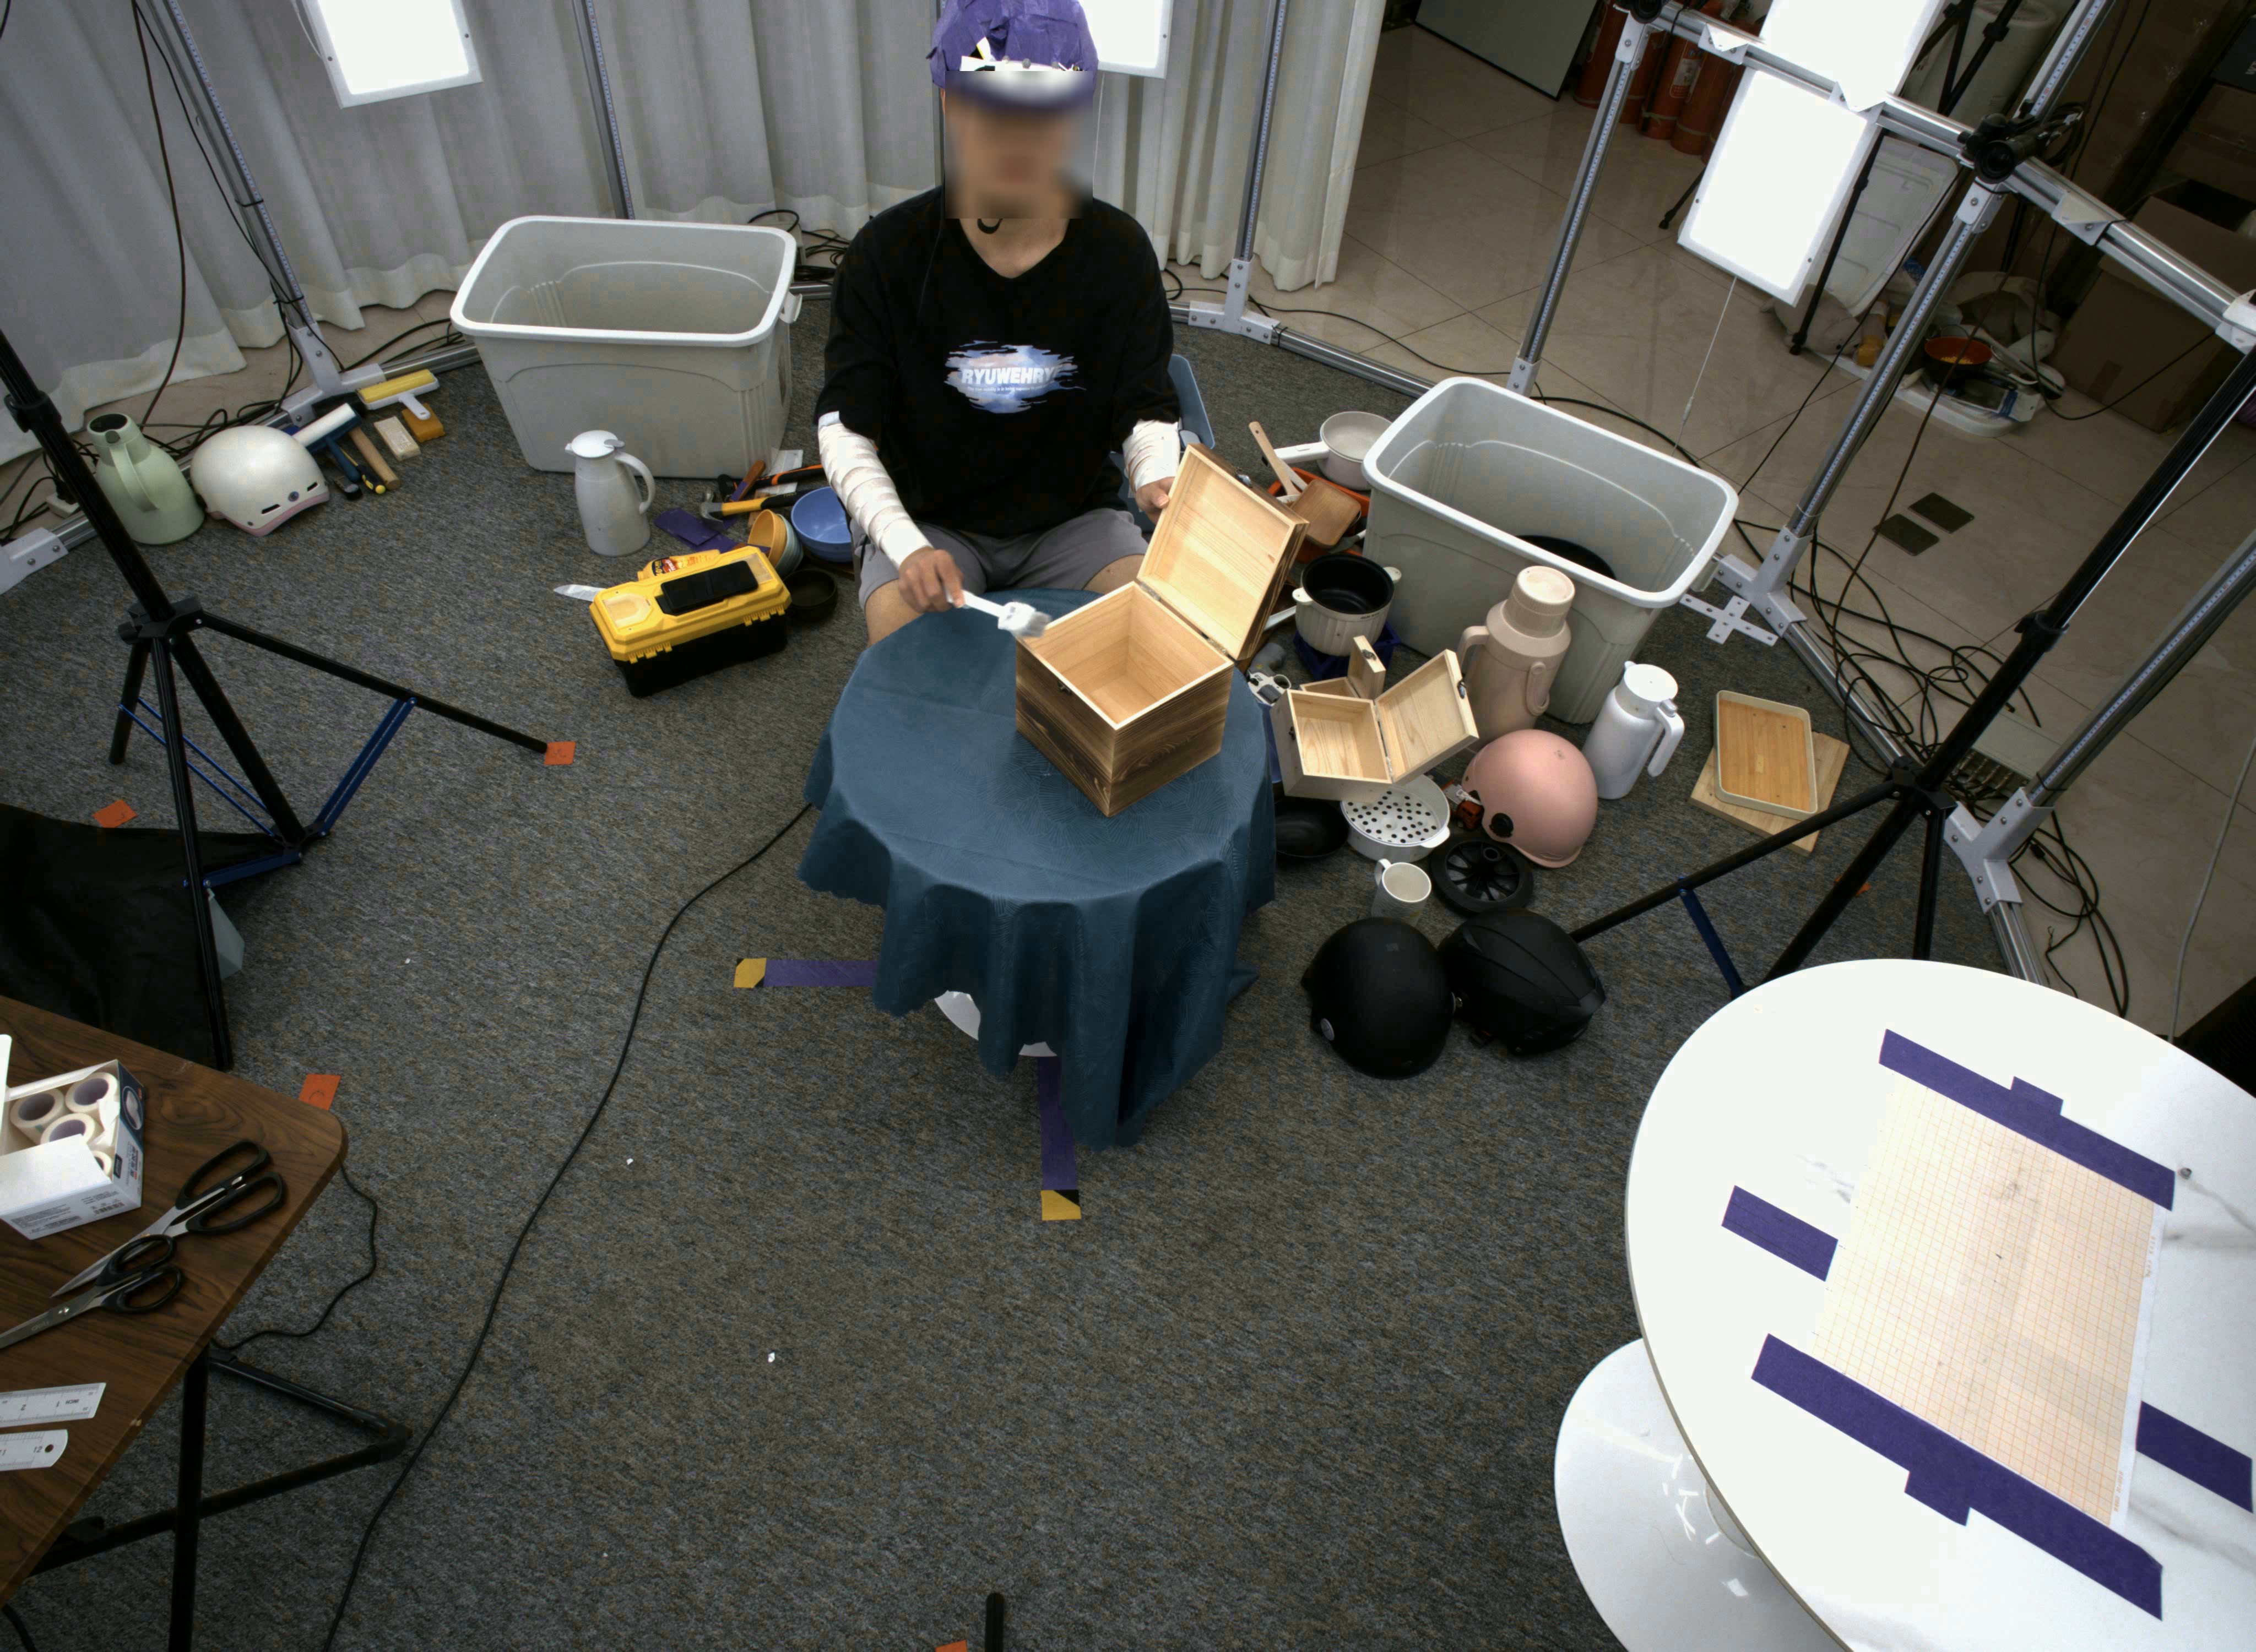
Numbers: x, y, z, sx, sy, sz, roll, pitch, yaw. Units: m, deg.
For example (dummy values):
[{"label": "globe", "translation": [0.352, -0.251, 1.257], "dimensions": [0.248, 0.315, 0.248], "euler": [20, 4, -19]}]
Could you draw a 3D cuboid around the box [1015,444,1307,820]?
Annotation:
[{"label": "box", "translation": [0.036, -0.256, 1.670], "dimensions": [0.324, 0.366, 0.212], "euler": [-30, 56, -28]}]

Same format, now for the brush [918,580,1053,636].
[{"label": "brush", "translation": [-0.188, -0.288, 1.696], "dimensions": [0.247, 0.049, 0.034], "euler": [22, 89, 42]}]
